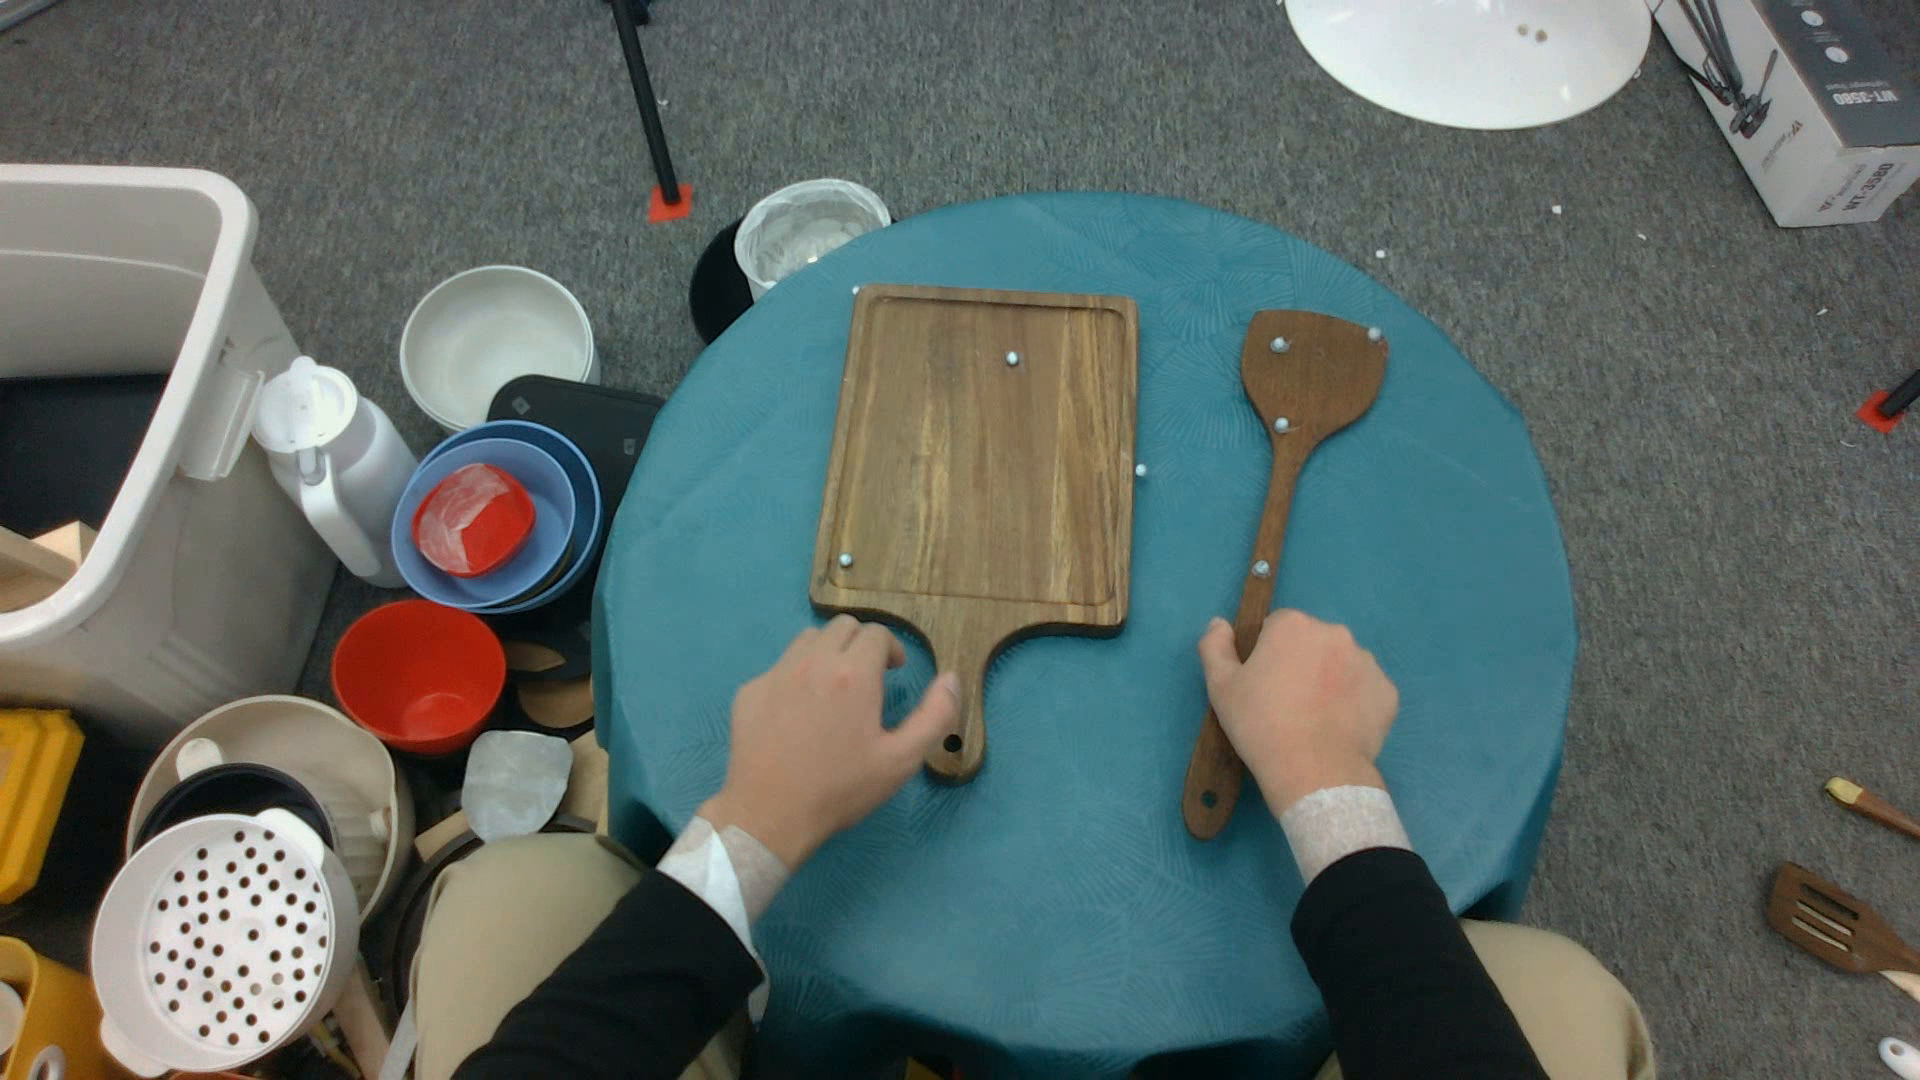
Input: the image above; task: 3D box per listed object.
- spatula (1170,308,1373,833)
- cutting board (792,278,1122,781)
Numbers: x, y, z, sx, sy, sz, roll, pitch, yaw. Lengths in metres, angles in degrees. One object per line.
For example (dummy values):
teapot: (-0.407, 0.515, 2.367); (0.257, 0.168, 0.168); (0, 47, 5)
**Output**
spatula: (0.182, 0.001, 0.847); (0.096, 0.016, 0.388); (15, 59, 9)
cutting board: (0.000, -0.020, 0.866); (0.201, 0.023, 0.353); (4, 61, 3)
